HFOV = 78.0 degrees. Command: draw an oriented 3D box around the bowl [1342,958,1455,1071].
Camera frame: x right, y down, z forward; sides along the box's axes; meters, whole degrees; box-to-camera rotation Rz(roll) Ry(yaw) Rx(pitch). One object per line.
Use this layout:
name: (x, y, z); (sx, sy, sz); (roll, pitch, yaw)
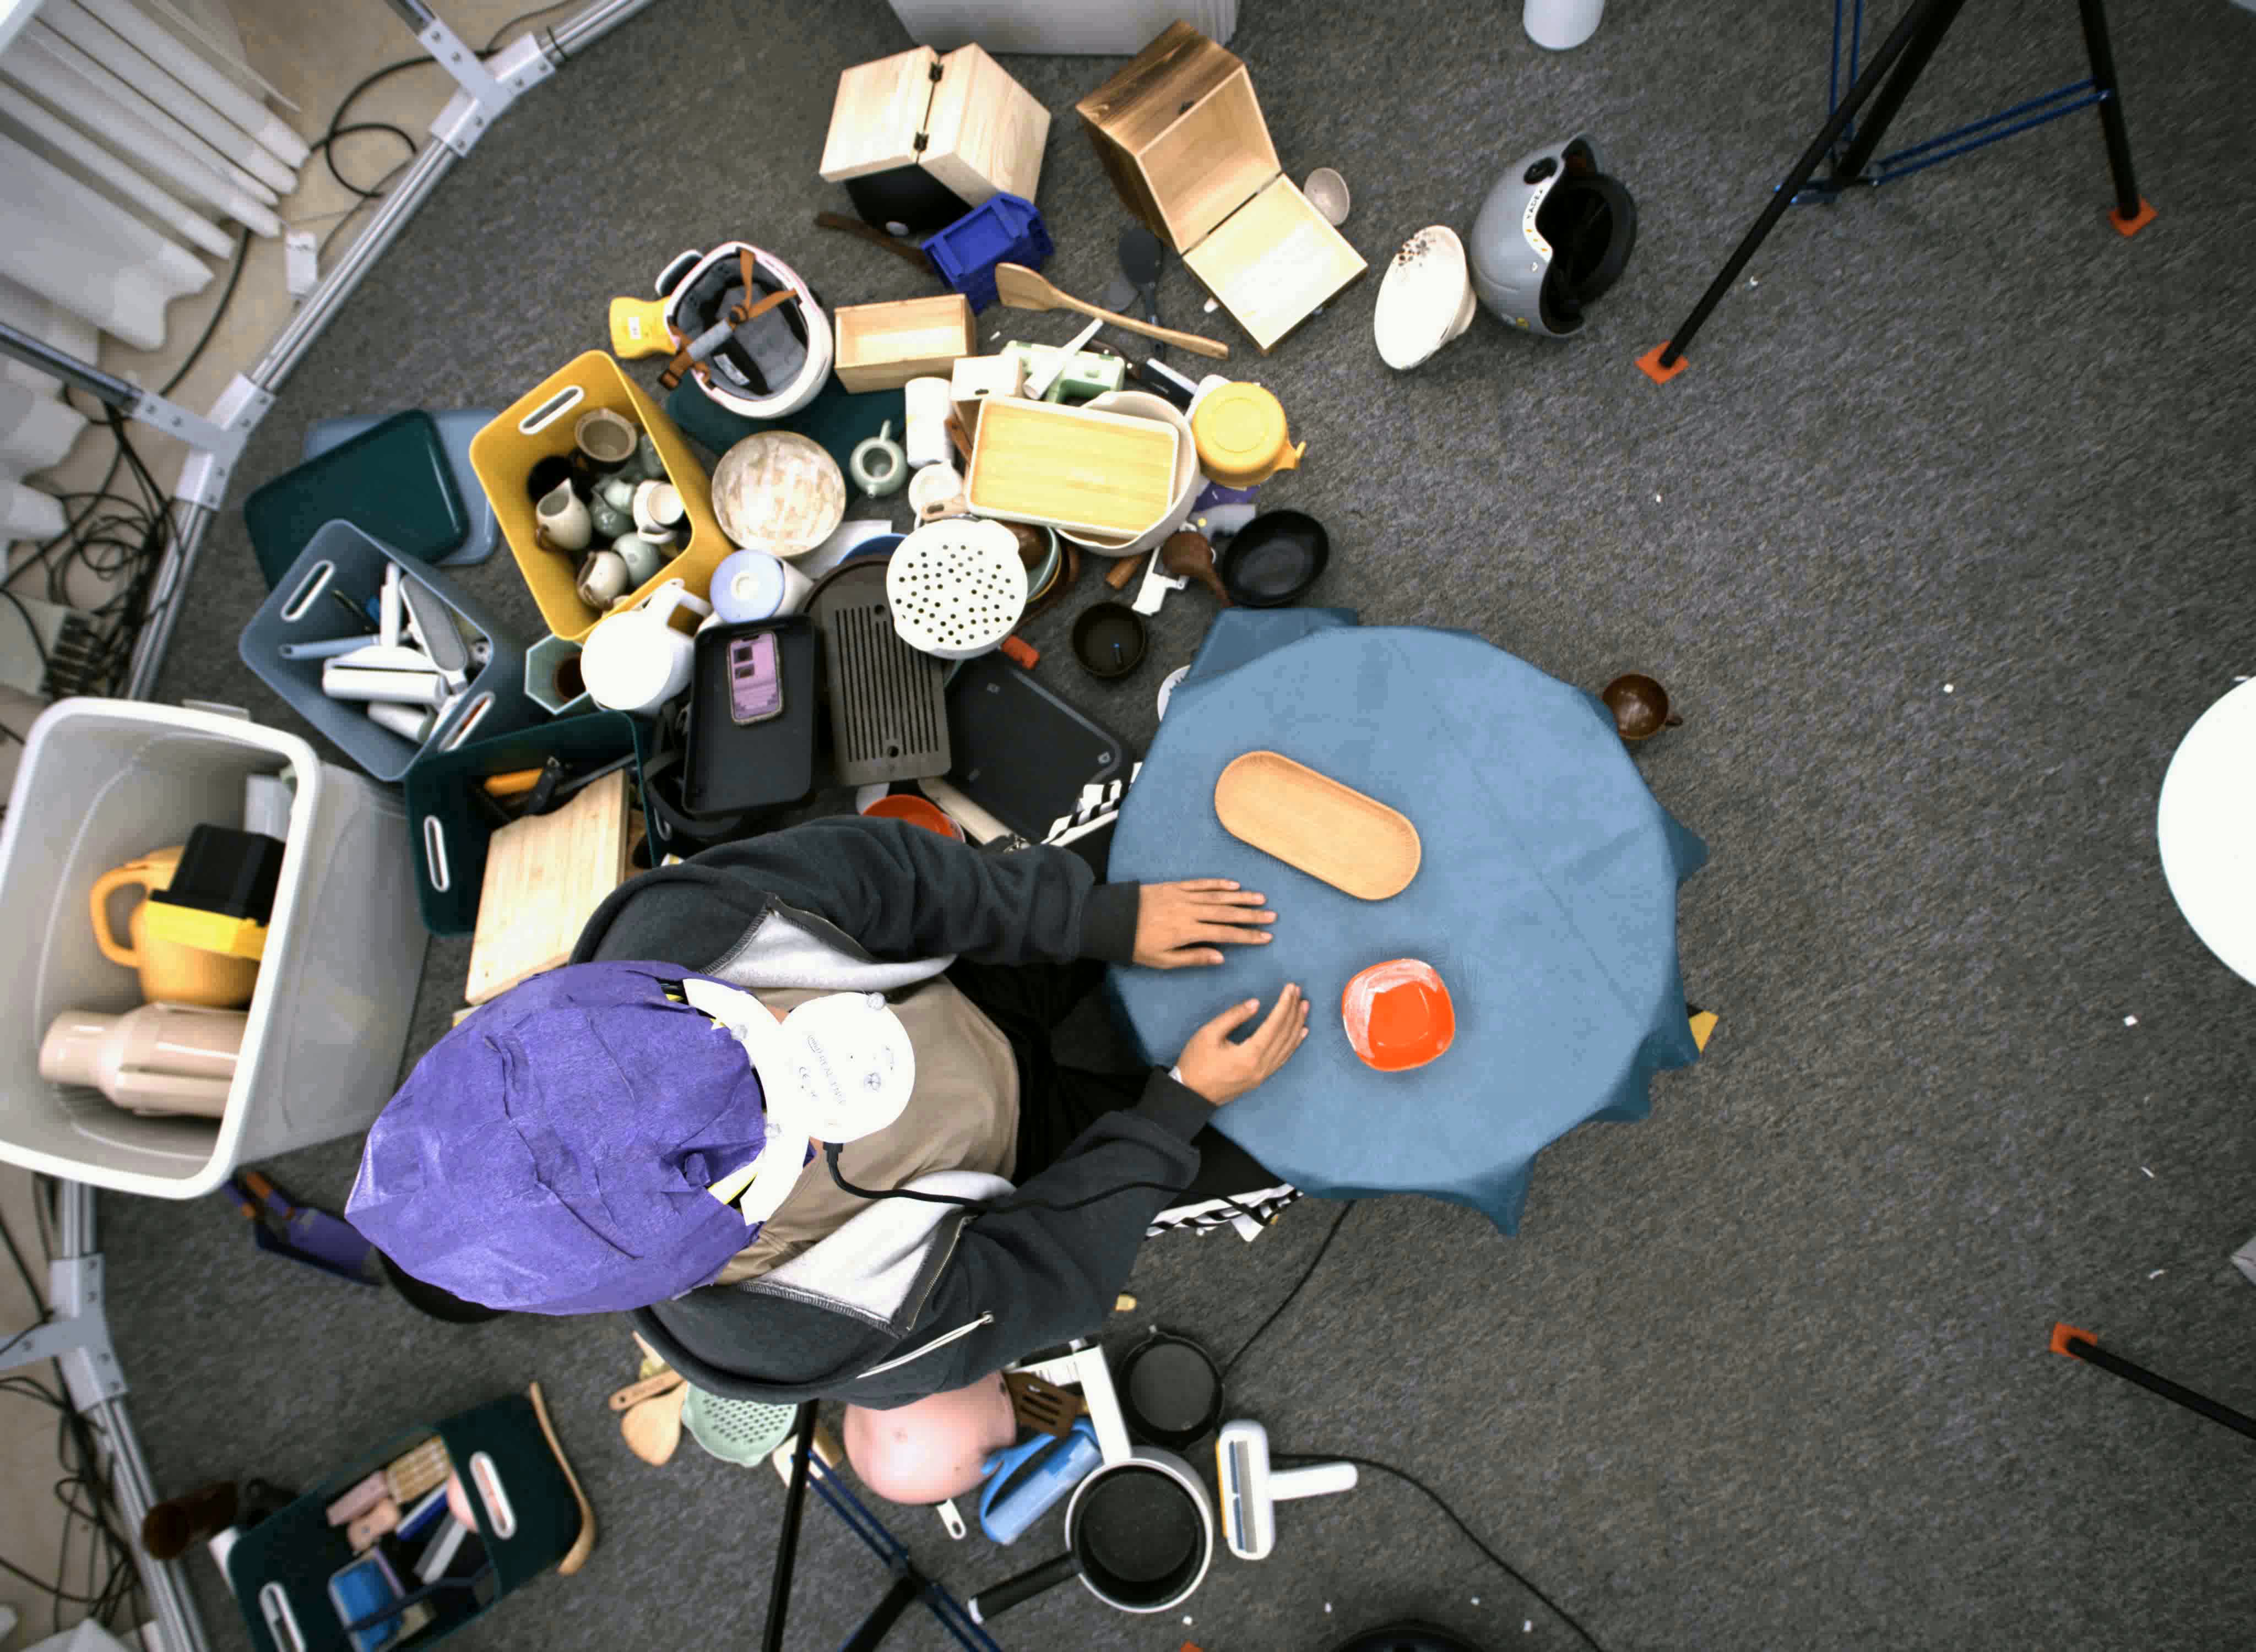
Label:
bowl: (0.277, 0.192, 1.424); (0.119, 0.051, 0.118); (-1, 87, 9)

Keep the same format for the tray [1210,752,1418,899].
tray: (0.197, -0.002, 1.469); (0.231, 0.020, 0.101); (25, 91, 12)
